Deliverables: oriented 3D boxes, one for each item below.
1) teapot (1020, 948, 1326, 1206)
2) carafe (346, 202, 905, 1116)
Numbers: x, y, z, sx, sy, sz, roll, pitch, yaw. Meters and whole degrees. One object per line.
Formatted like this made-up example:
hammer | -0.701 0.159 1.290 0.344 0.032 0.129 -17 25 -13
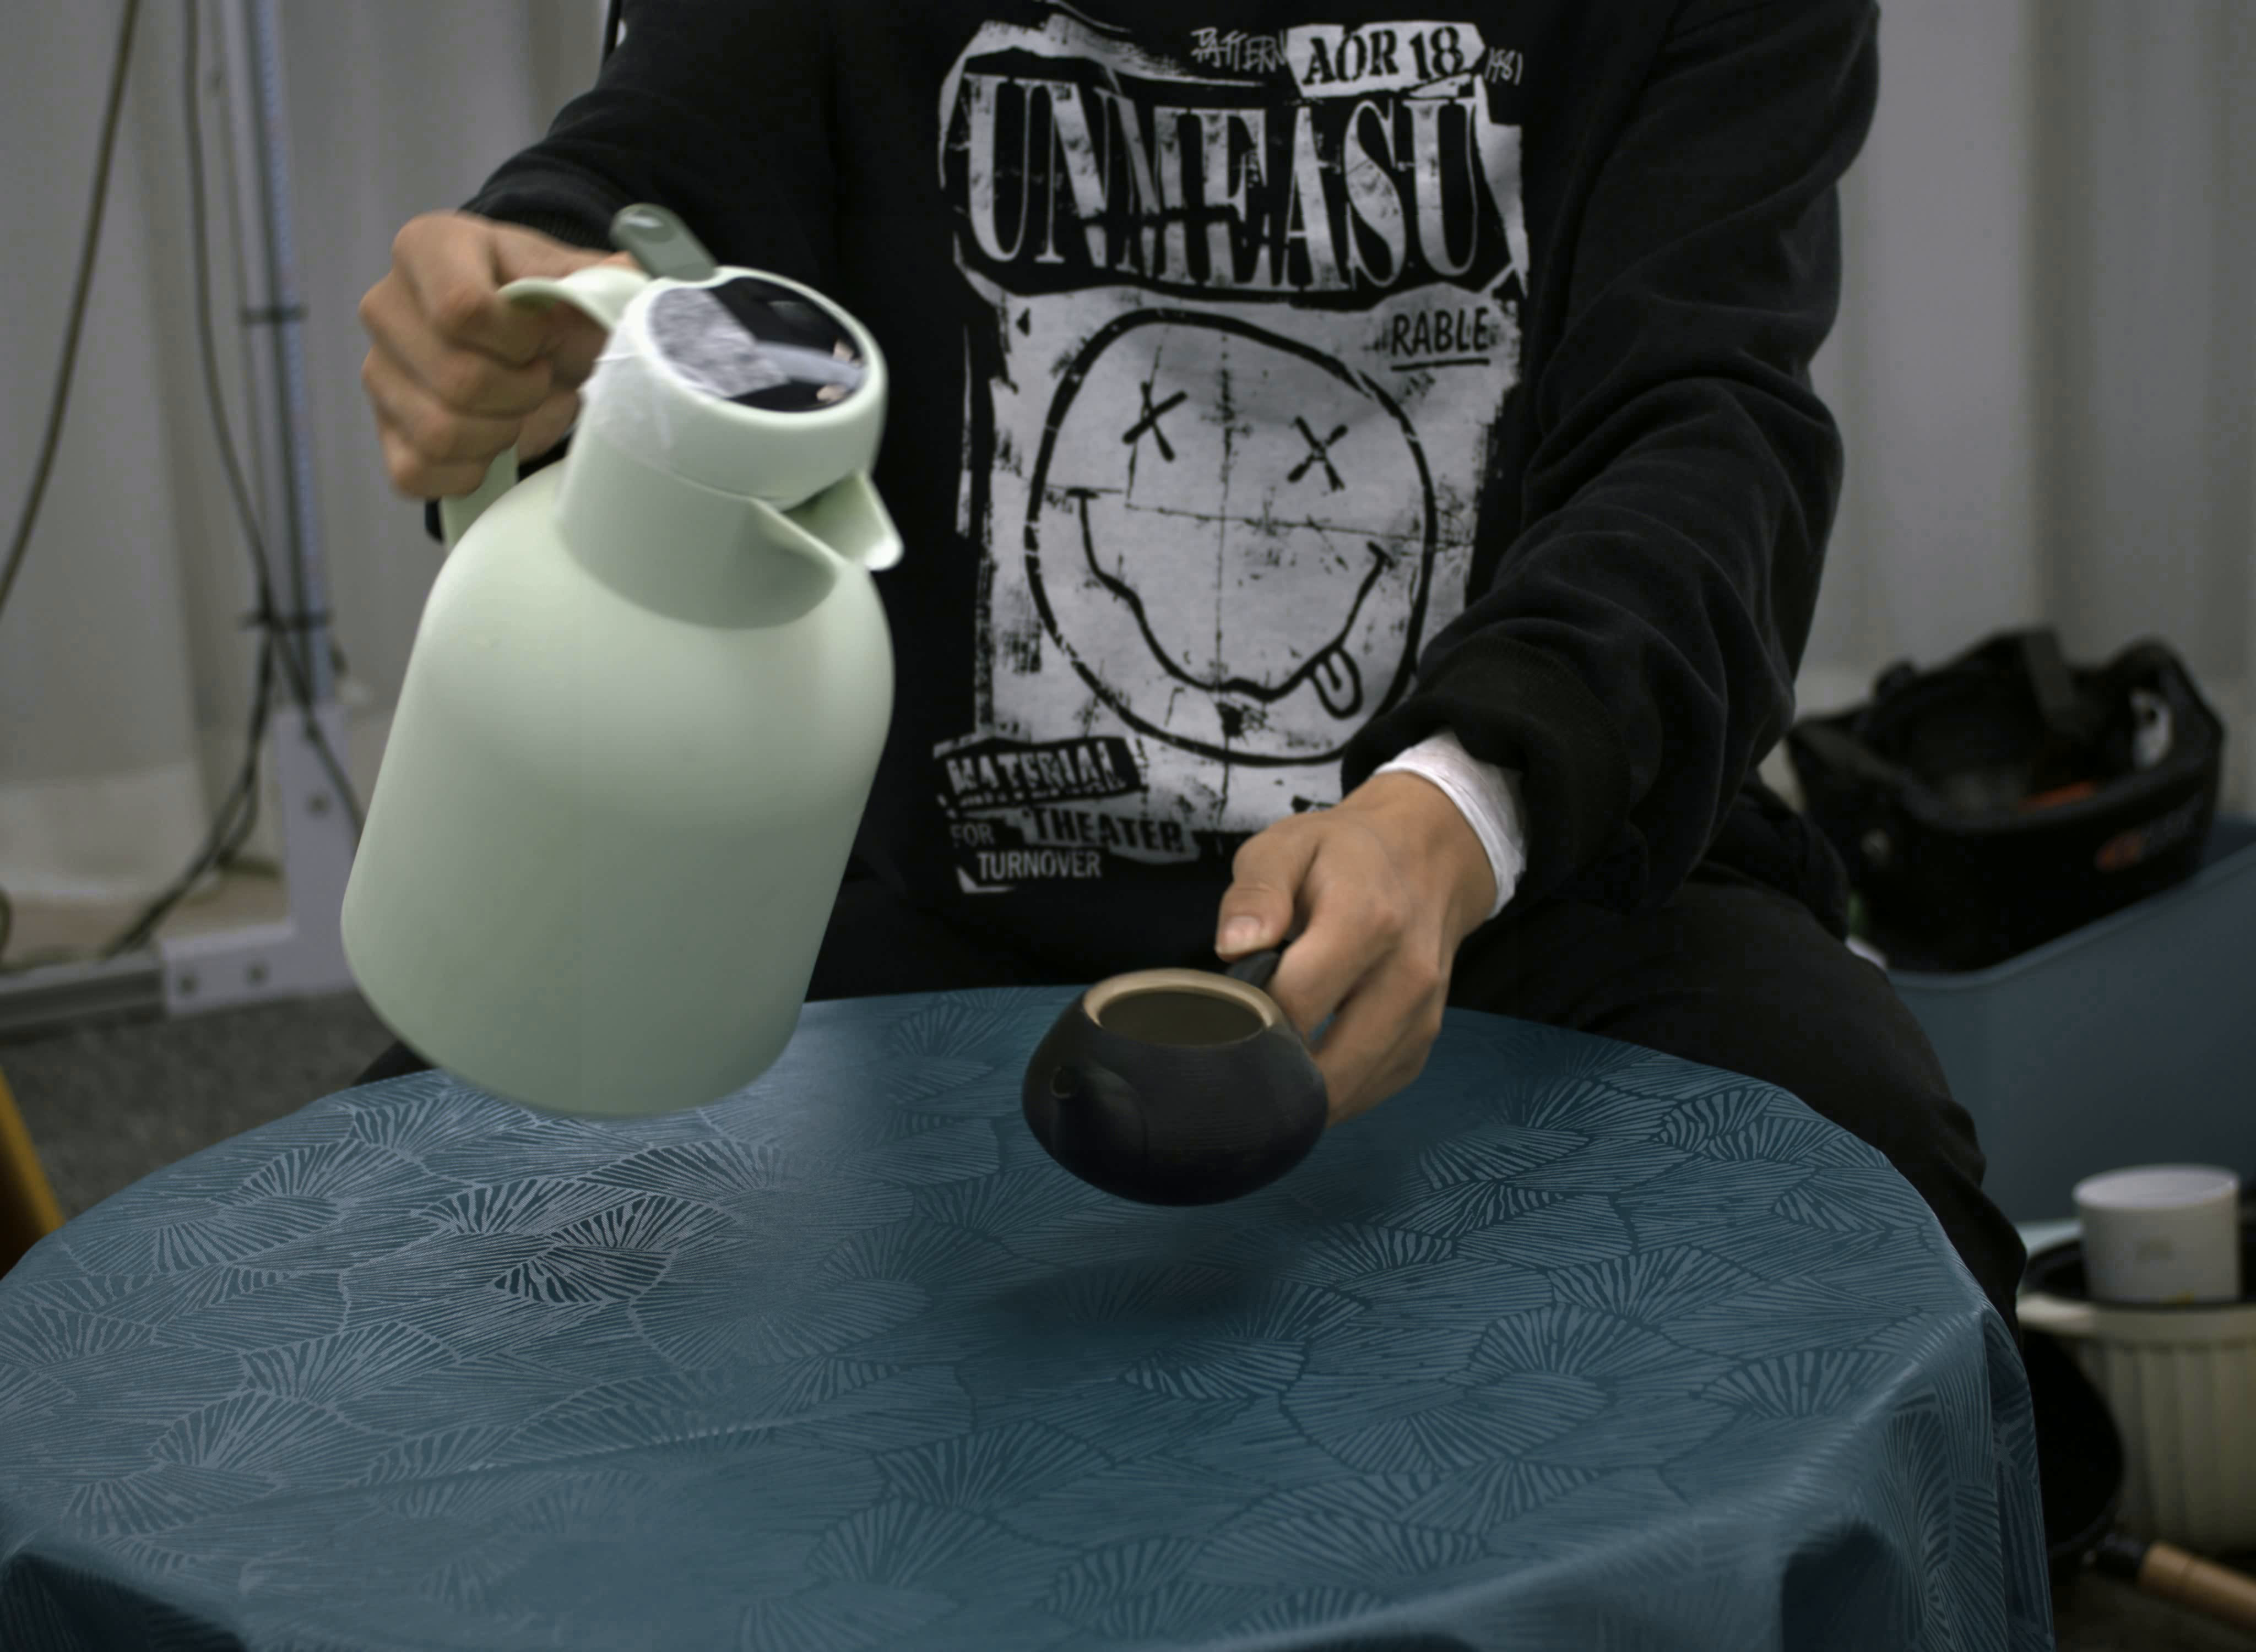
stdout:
teapot | 0.014 0.077 1.612 0.091 0.052 0.133 16 26 27
carafe | -0.147 -0.055 1.627 0.144 0.254 0.189 -16 48 -38
